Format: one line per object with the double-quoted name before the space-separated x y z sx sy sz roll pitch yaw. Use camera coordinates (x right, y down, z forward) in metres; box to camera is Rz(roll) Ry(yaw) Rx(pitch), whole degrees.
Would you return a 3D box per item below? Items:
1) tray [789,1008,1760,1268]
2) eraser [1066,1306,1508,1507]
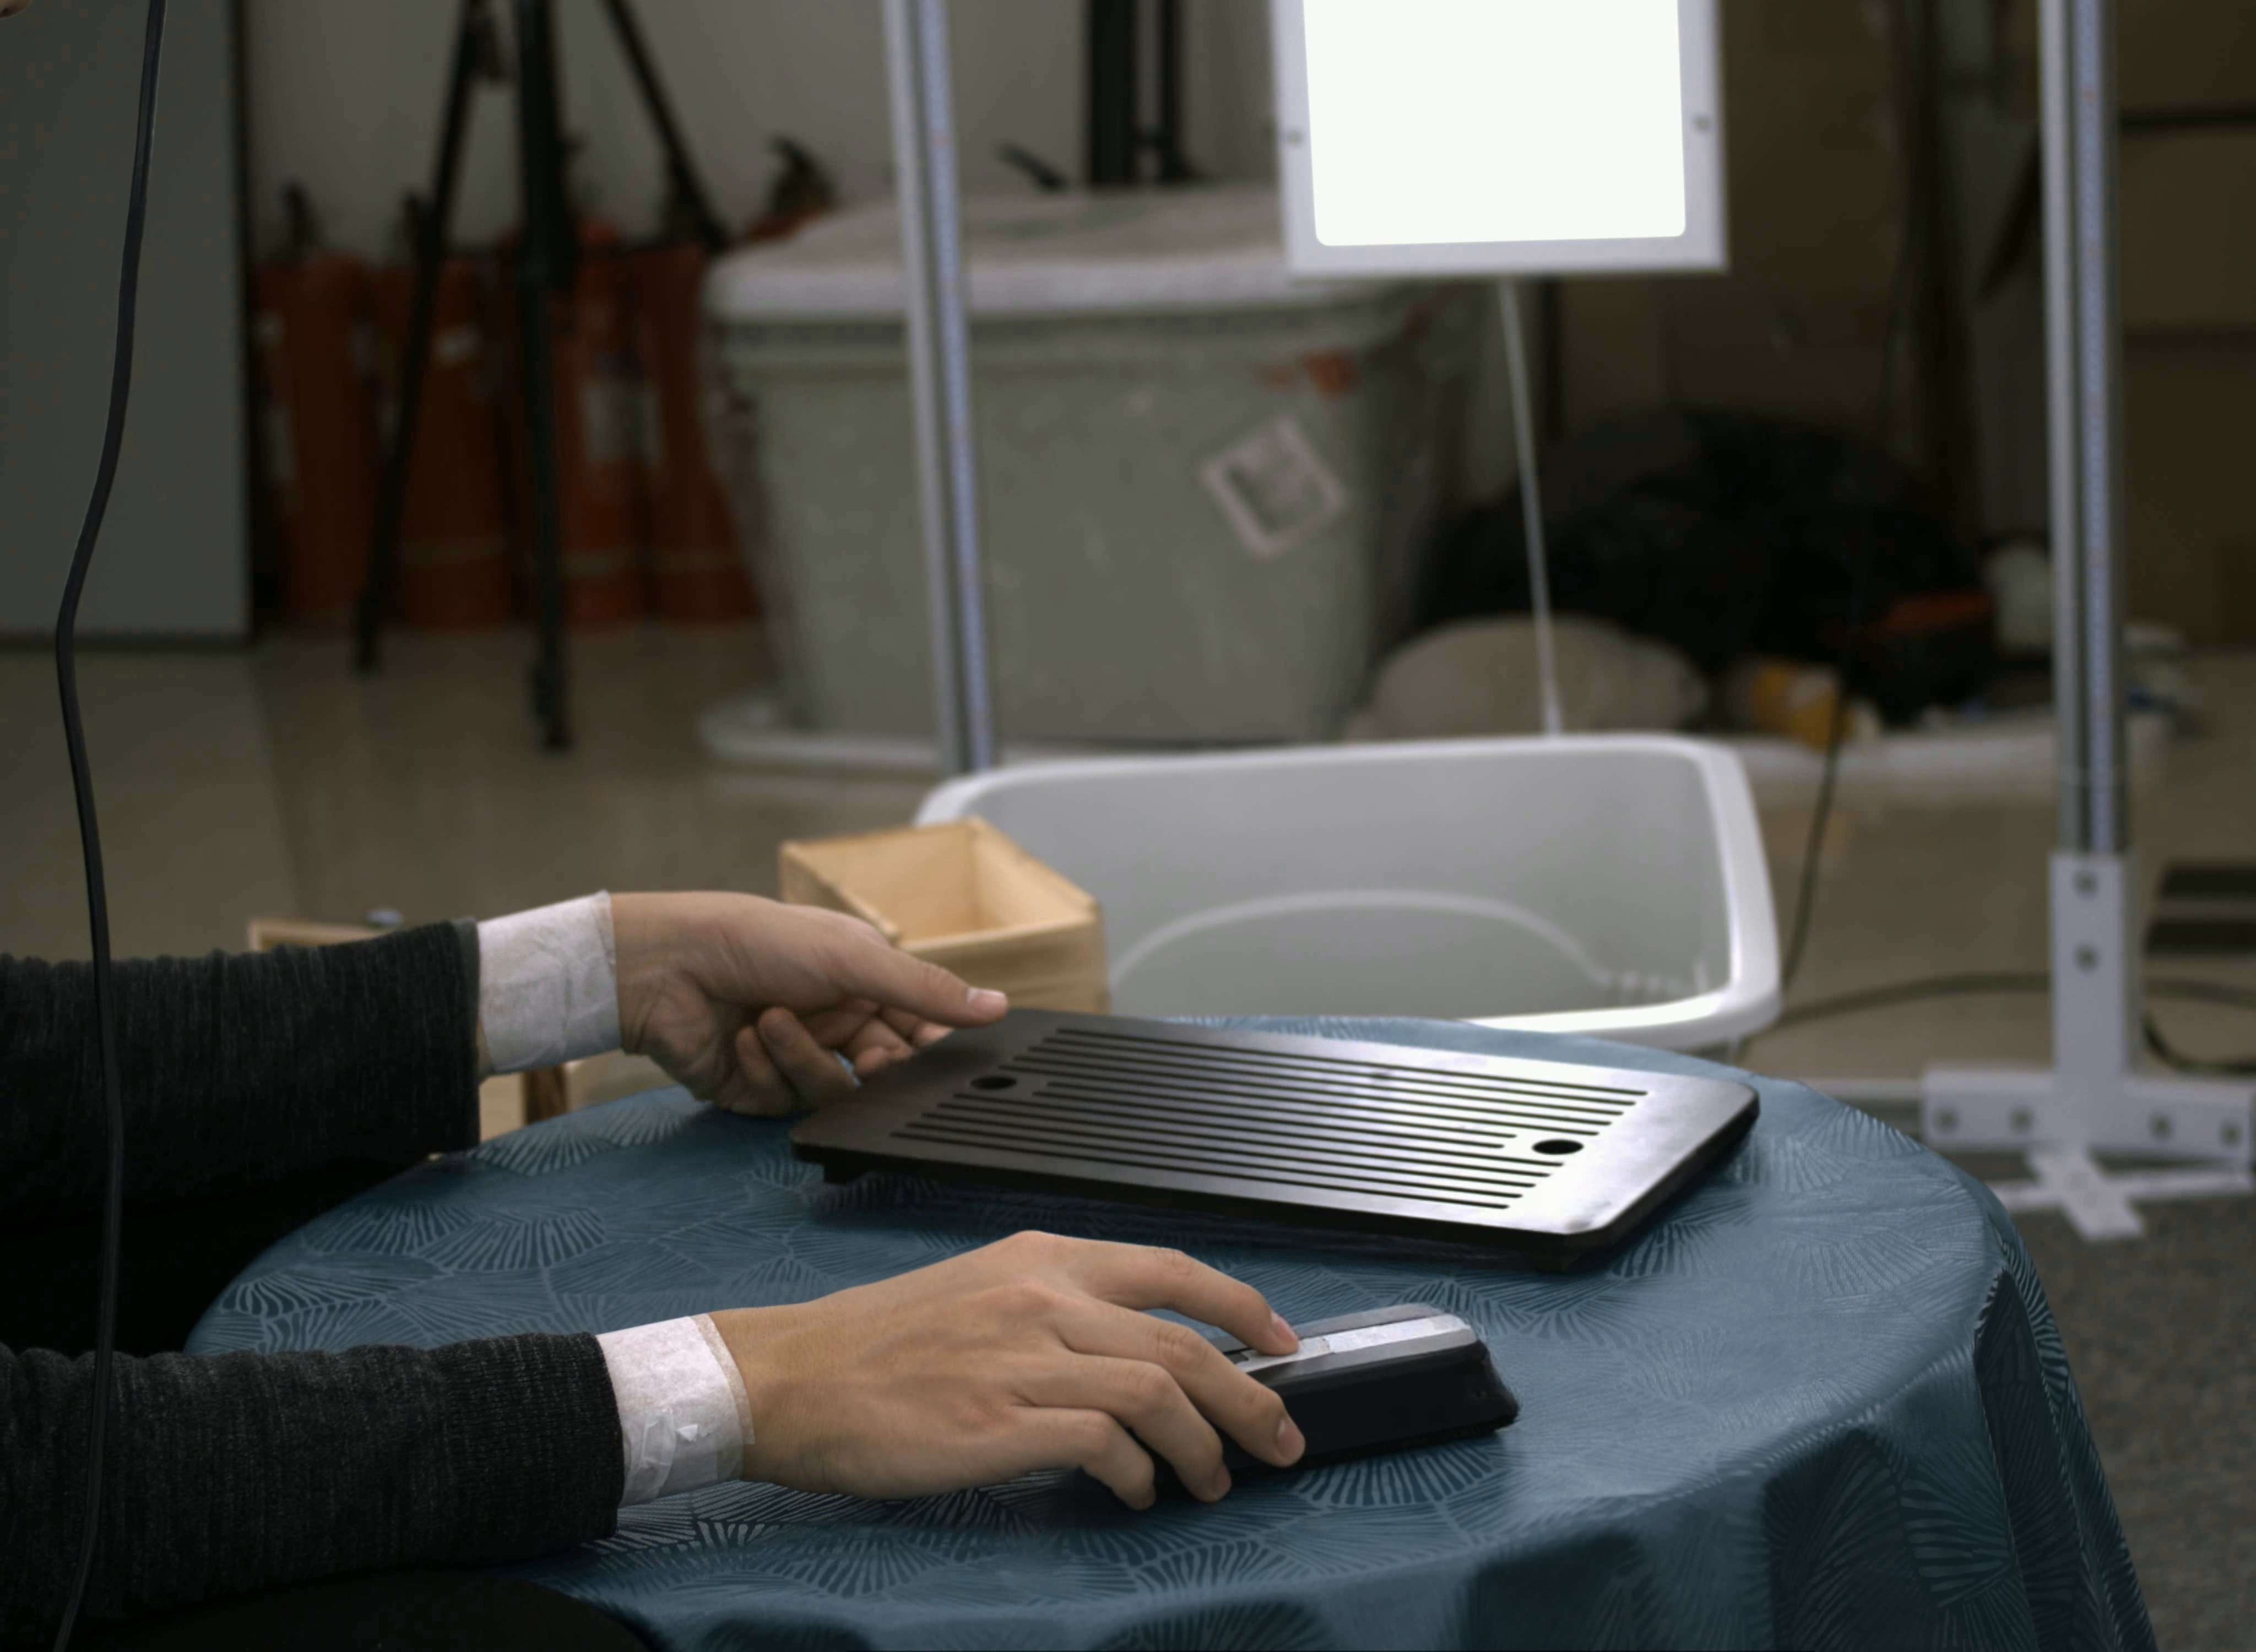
"tray" 0.051 0.106 1.907 0.311 0.019 0.166 4 17 28
"eraser" 0.048 0.171 1.638 0.123 0.030 0.054 -10 13 -16
